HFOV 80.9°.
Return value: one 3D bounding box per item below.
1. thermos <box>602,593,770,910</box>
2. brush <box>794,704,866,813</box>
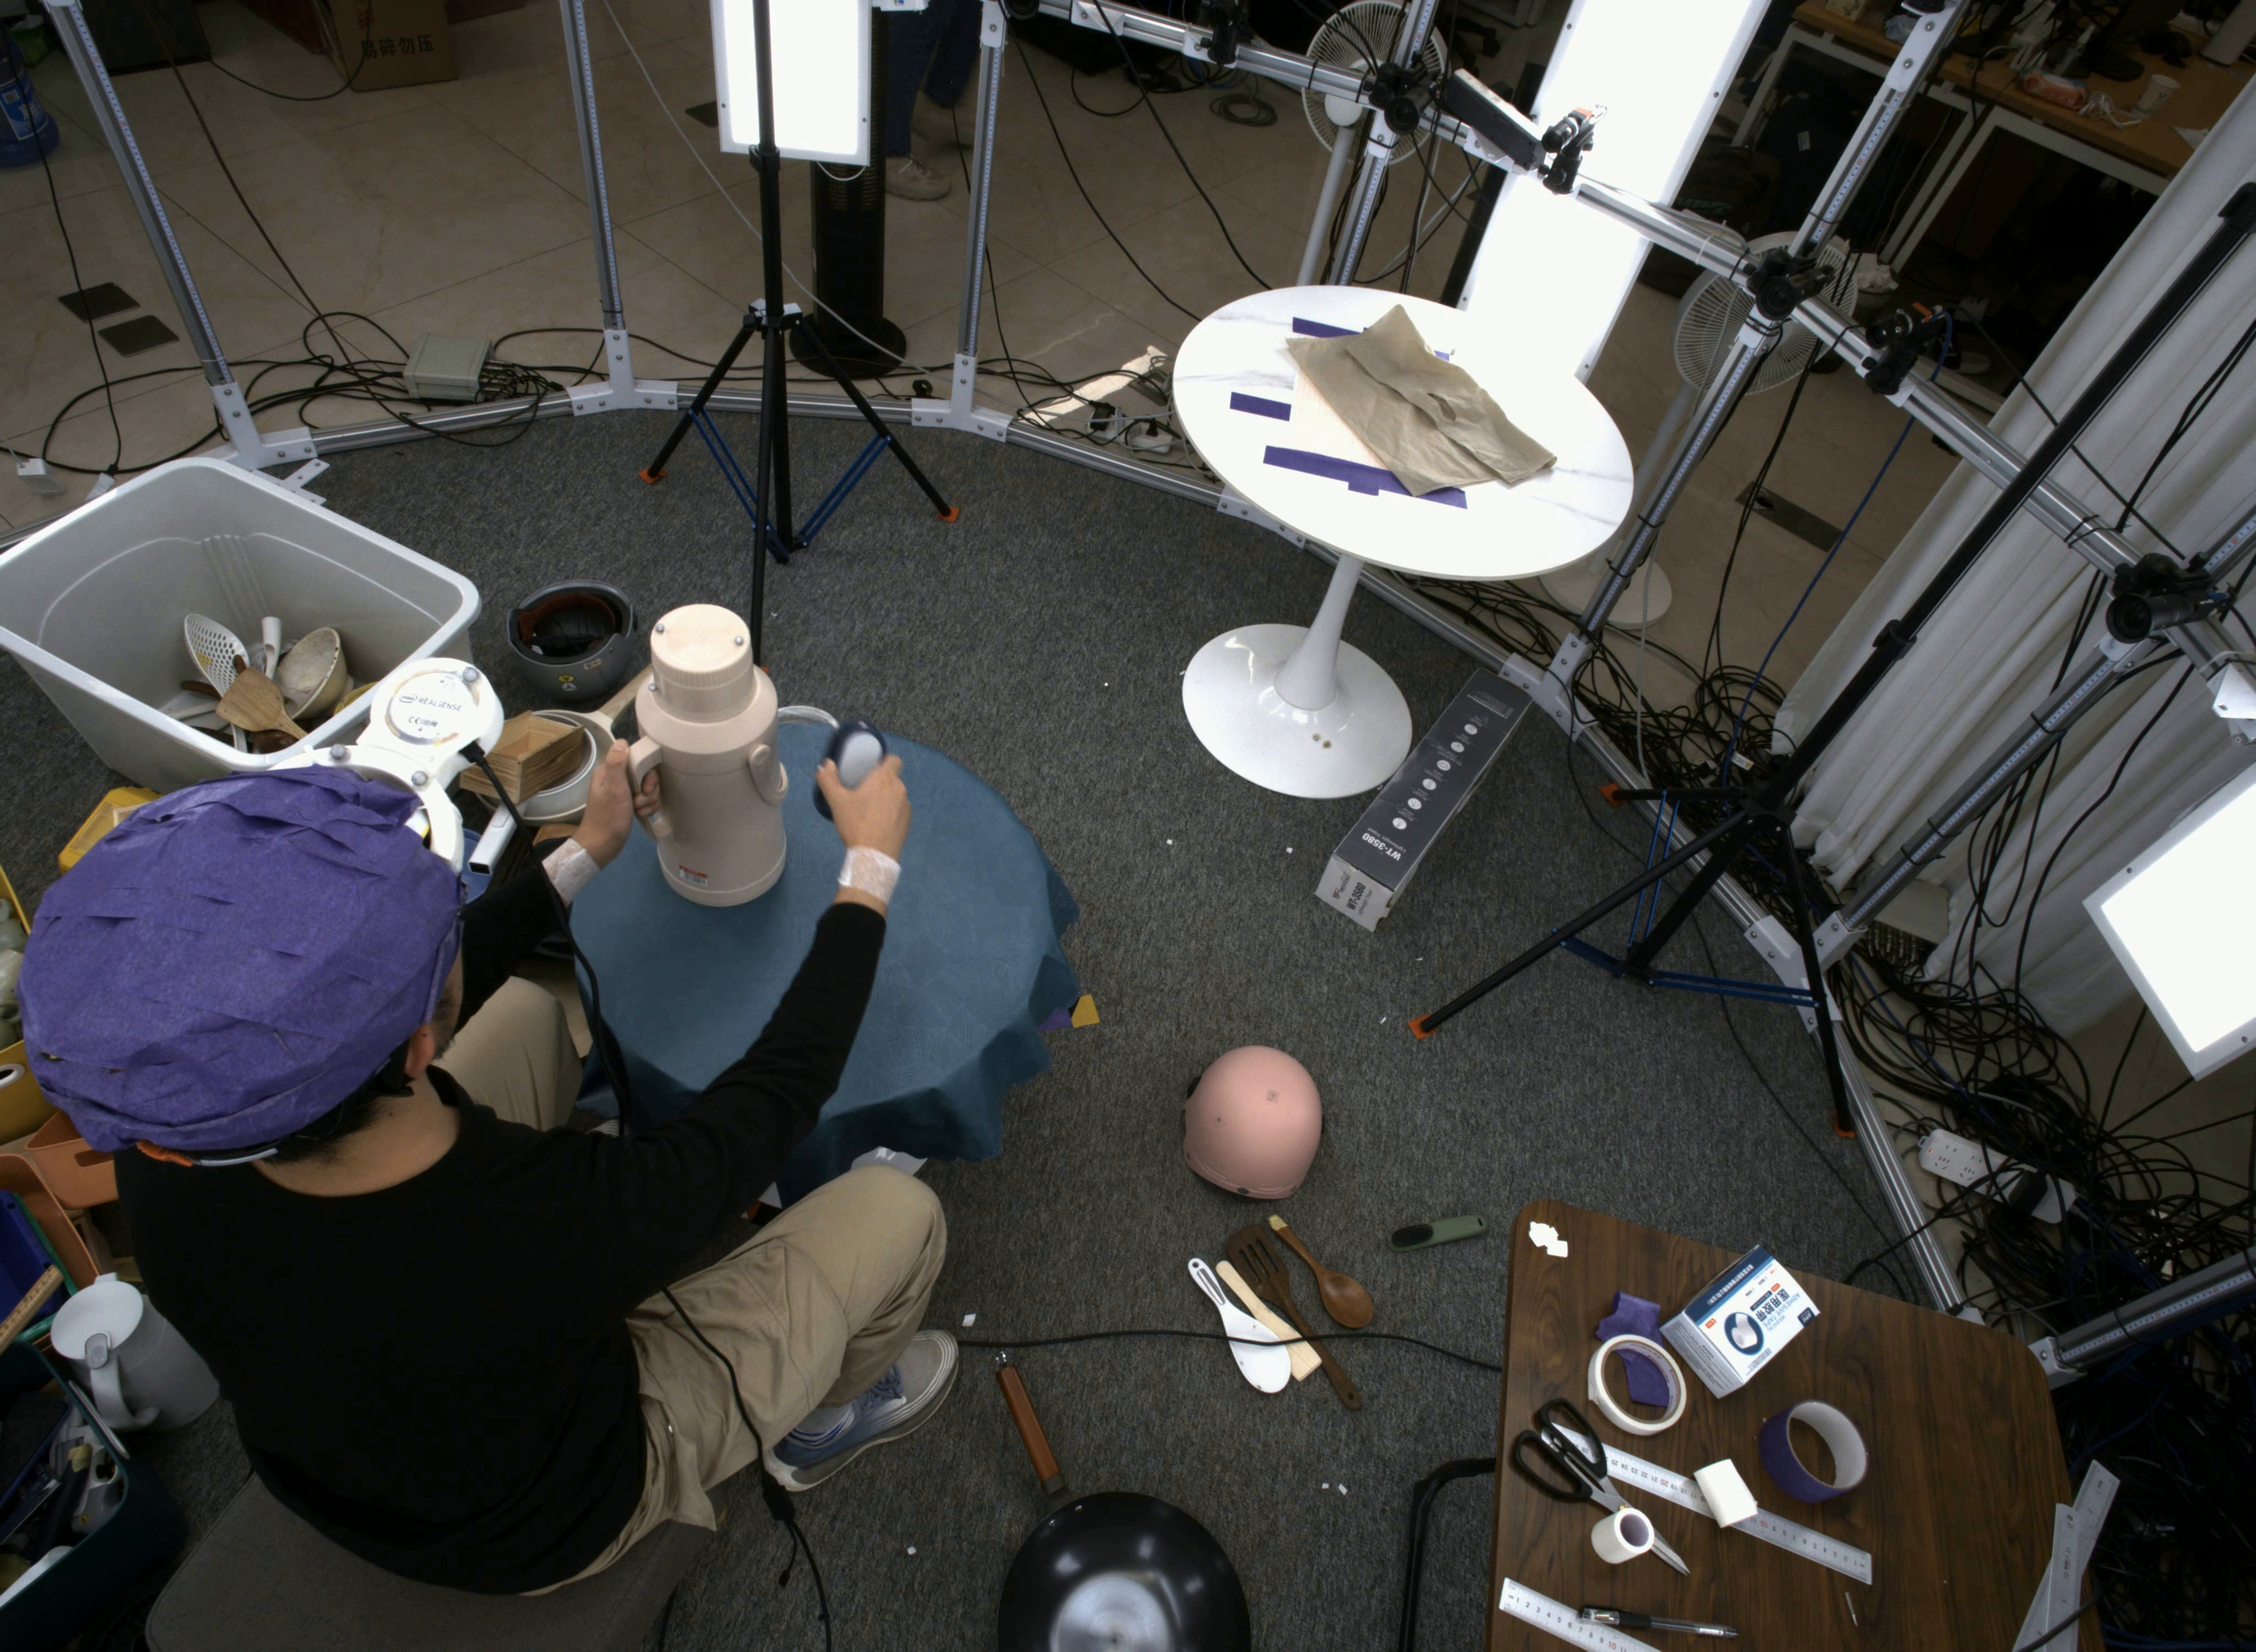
[{"bbox_3d":[-0.517,-0.076,1.494,0.172,0.414,0.207,34,53,13],"label":"thermos"},{"bbox_3d":[-0.336,-0.076,1.458,0.069,0.059,0.123,15,93,-29],"label":"brush"}]
